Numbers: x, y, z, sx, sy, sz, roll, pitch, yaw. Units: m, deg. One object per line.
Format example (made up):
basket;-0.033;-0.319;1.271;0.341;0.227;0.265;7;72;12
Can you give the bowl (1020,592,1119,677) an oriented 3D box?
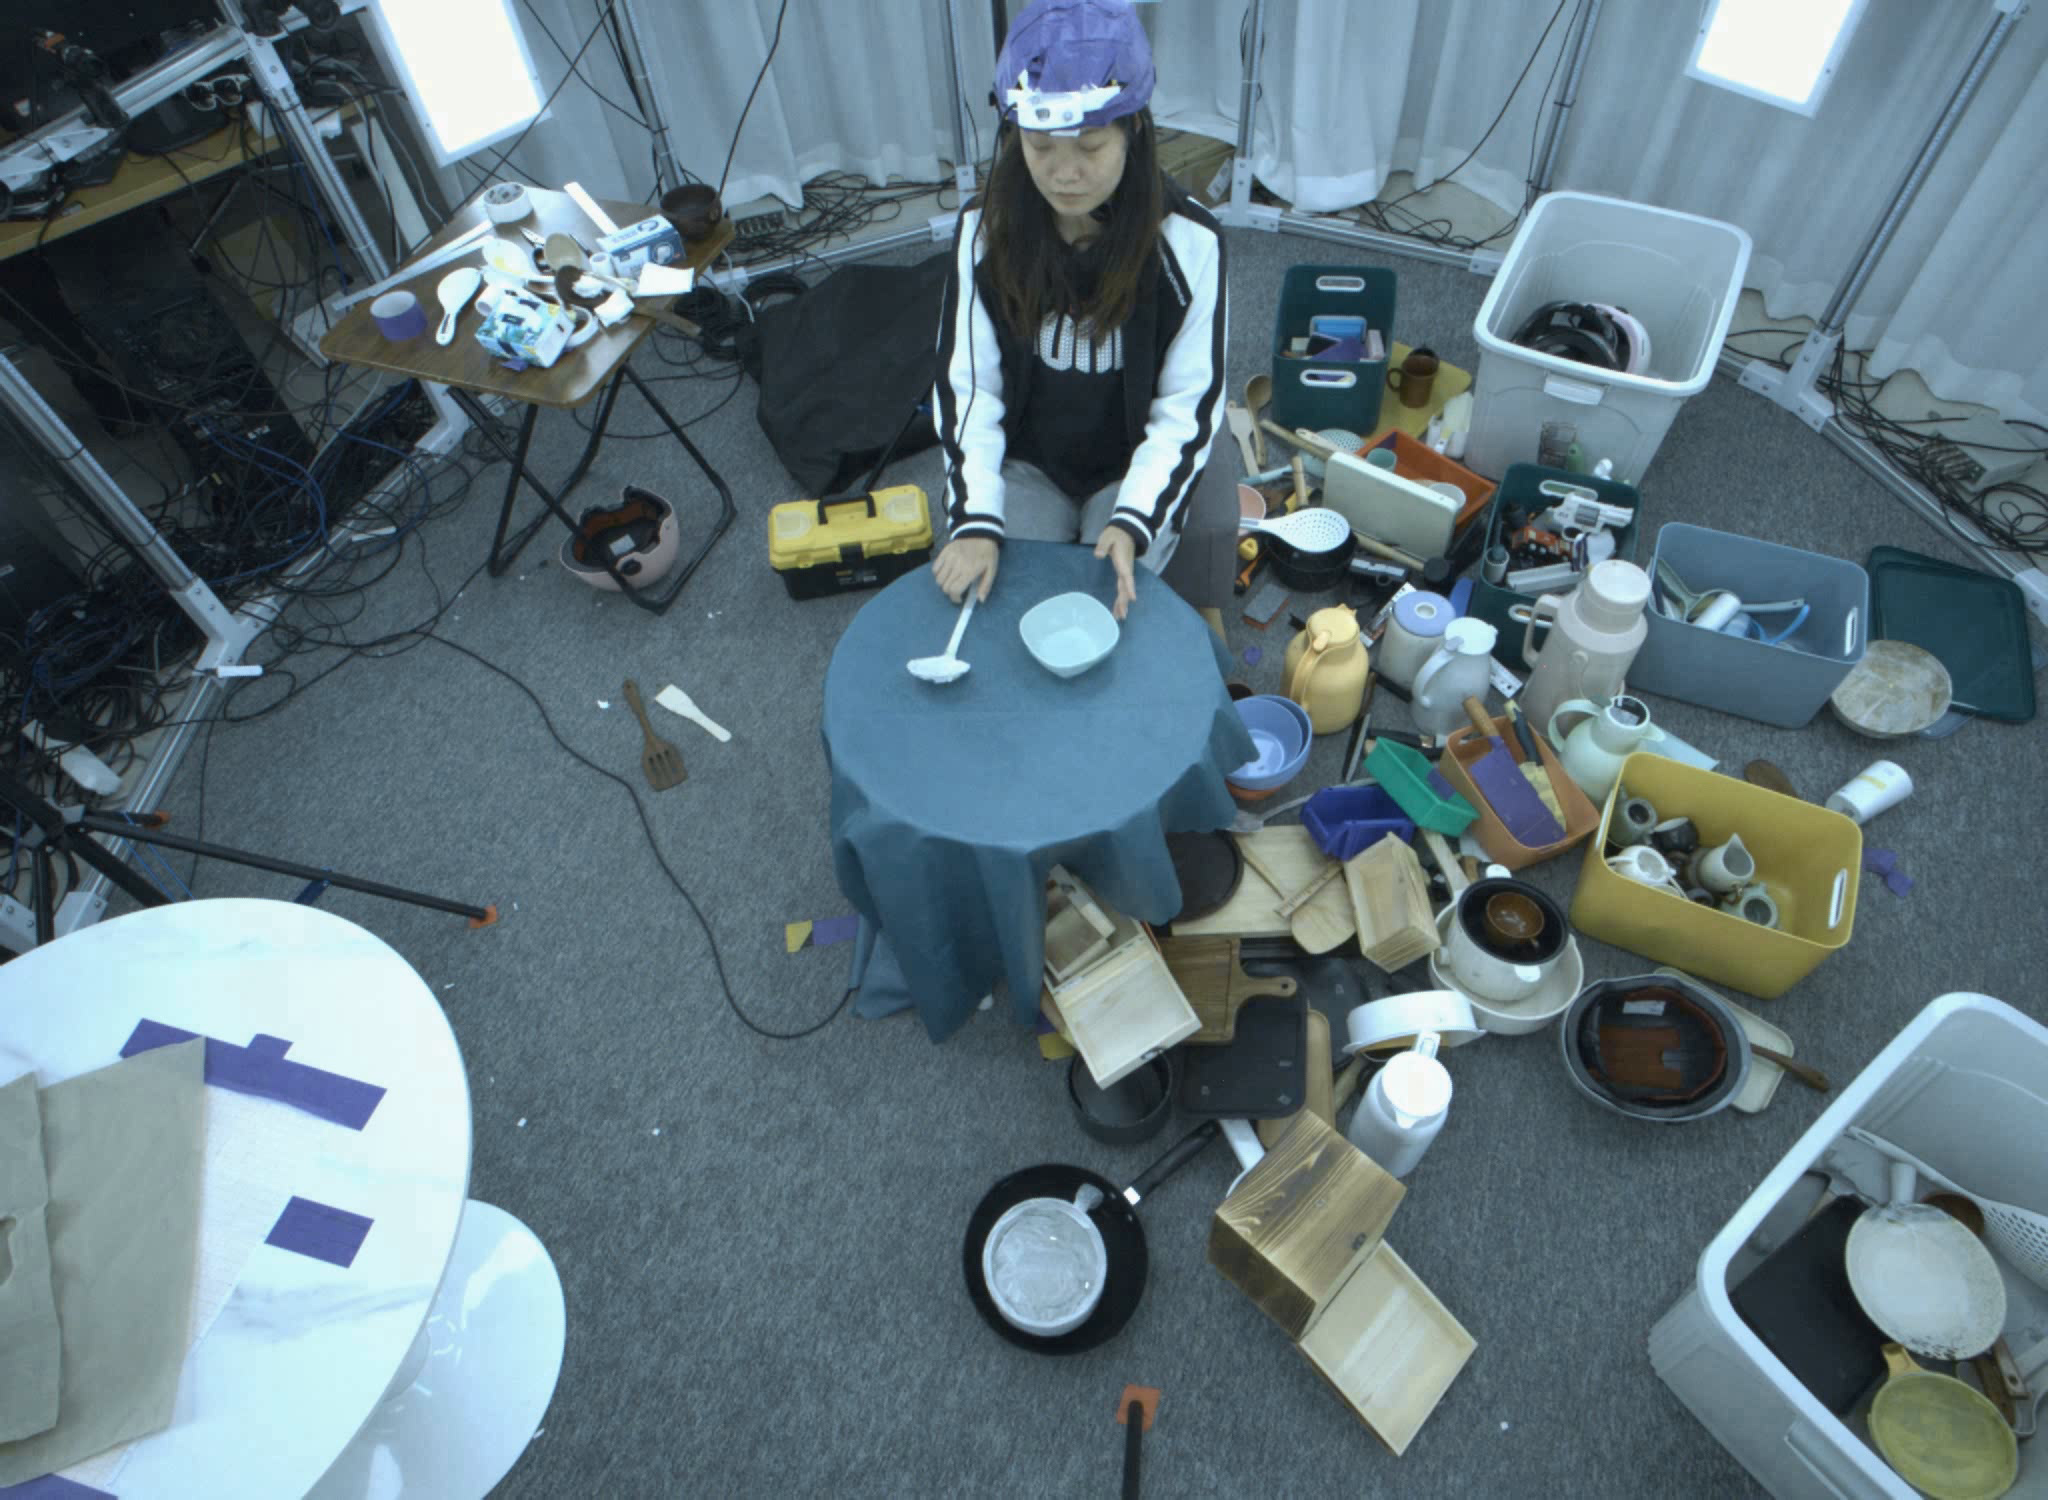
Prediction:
bowl;0.069;-0.166;1.871;0.151;0.059;0.150;0;55;2

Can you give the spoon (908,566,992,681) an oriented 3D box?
spoon;-0.095;-0.203;1.898;0.100;0.060;0.276;14;57;10
